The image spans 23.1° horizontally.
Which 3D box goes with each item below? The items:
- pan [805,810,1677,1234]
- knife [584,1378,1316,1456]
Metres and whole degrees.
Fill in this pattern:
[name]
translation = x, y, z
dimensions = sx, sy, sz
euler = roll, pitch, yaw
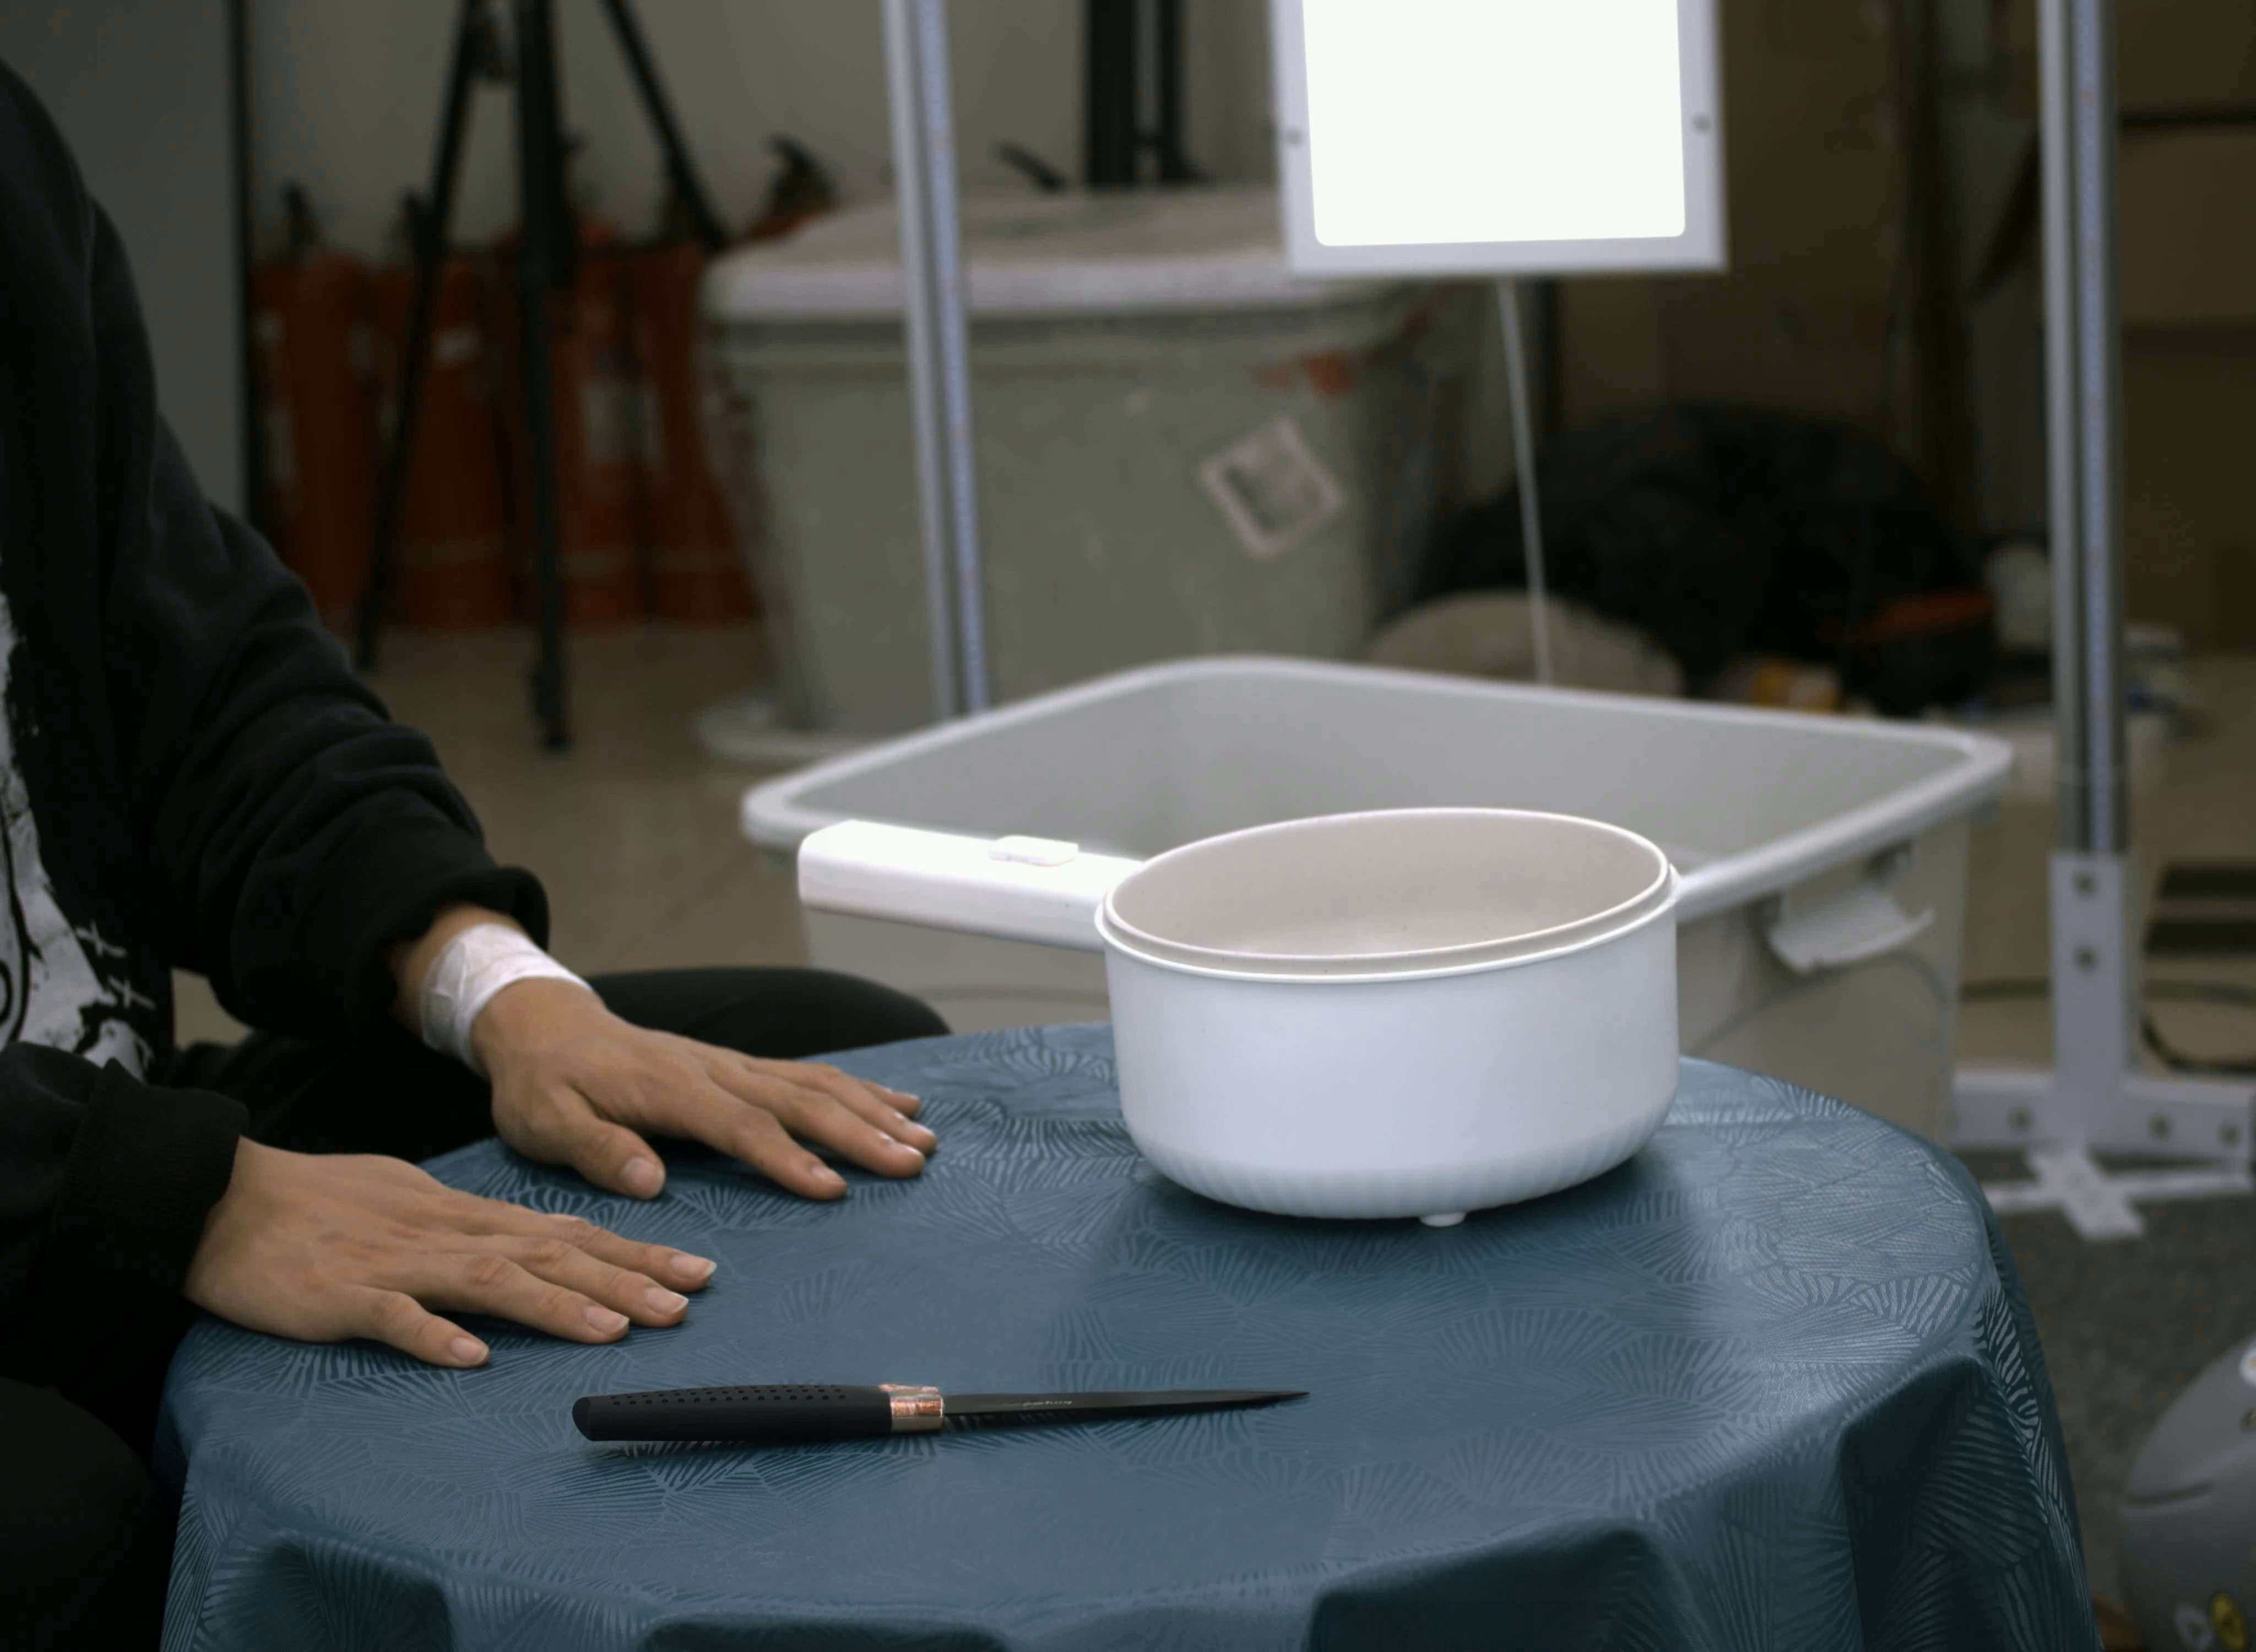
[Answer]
[pan]
translation = 0.031, 0.063, 1.946
dimensions = 0.362, 0.102, 0.196
euler = 6, 19, 39
[knife]
translation = -0.054, 0.179, 1.689
dimensions = 0.225, 0.017, 0.026
euler = -4, 0, 2
